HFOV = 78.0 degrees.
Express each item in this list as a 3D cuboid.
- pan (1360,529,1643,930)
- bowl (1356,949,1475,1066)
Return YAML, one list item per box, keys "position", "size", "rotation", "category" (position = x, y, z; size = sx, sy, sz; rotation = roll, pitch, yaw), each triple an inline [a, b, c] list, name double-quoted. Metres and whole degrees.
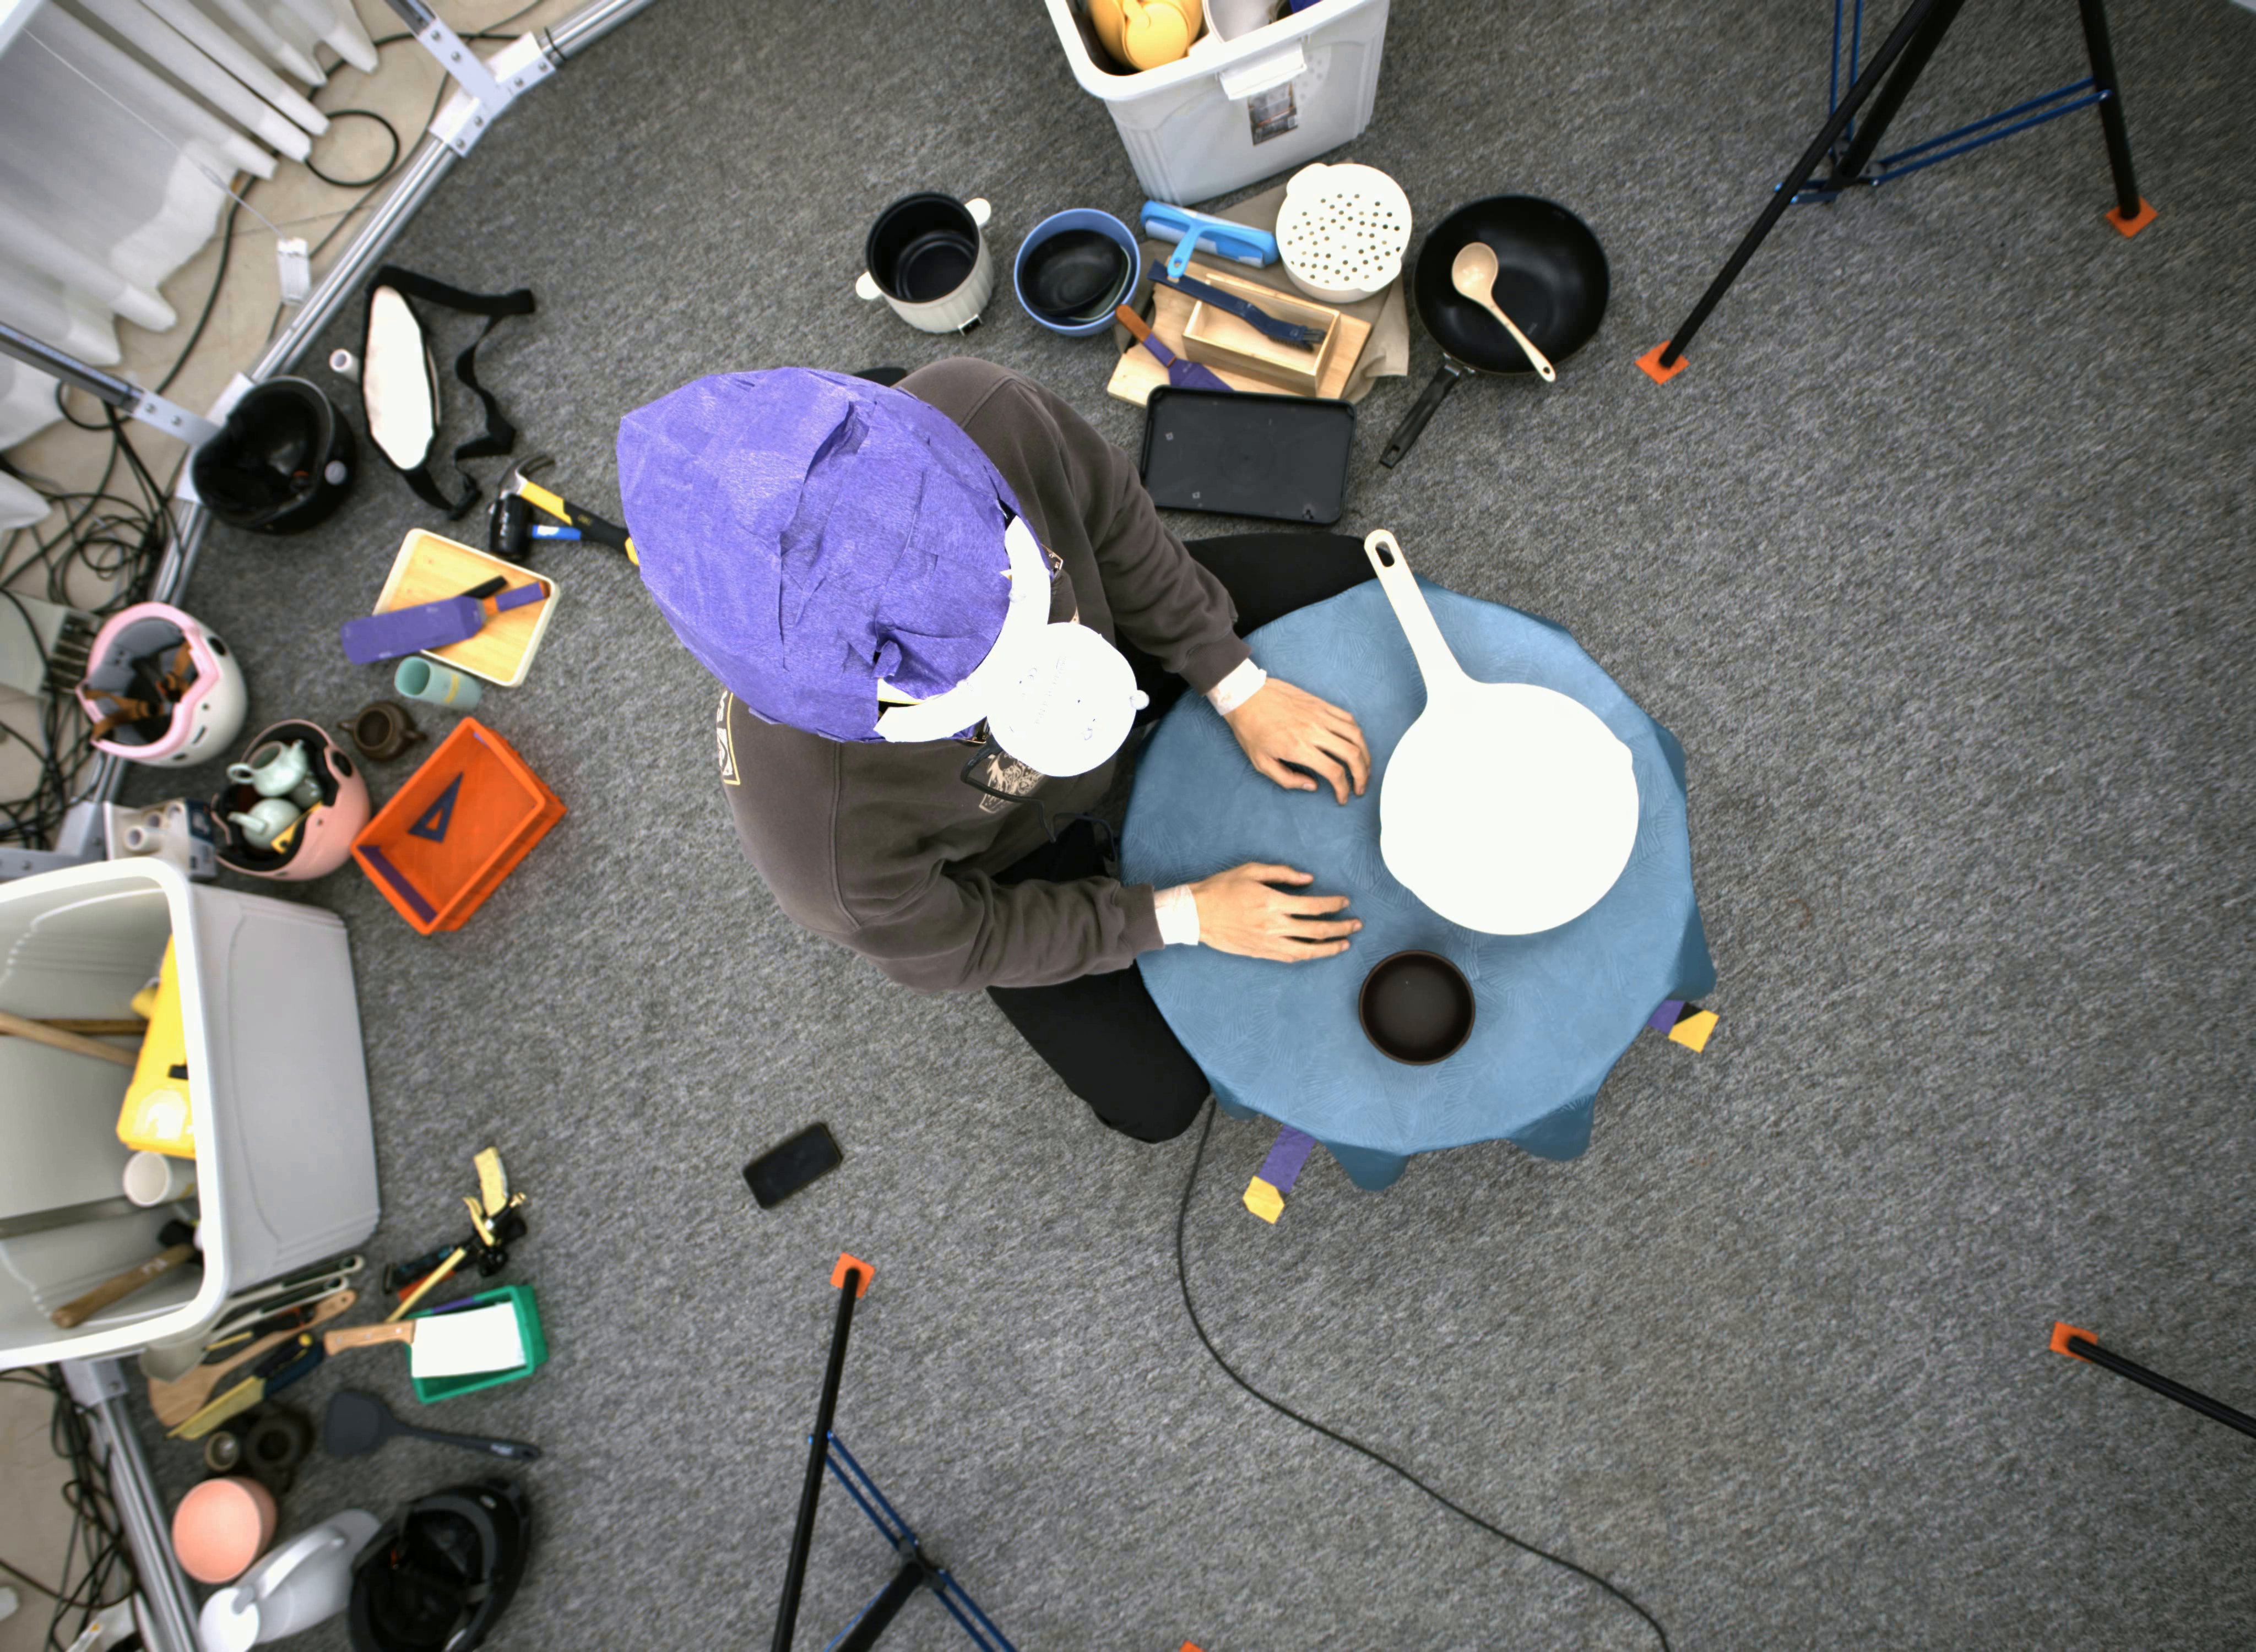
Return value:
- position: [0.348, -0.104, 1.402]
  size: [0.265, 0.102, 0.432]
  rotation: [-26, 83, 10]
  category: "pan"
- position: [0.293, 0.183, 1.412]
  size: [0.118, 0.070, 0.117]
  rotation: [-1, 88, 12]
  category: "bowl"
